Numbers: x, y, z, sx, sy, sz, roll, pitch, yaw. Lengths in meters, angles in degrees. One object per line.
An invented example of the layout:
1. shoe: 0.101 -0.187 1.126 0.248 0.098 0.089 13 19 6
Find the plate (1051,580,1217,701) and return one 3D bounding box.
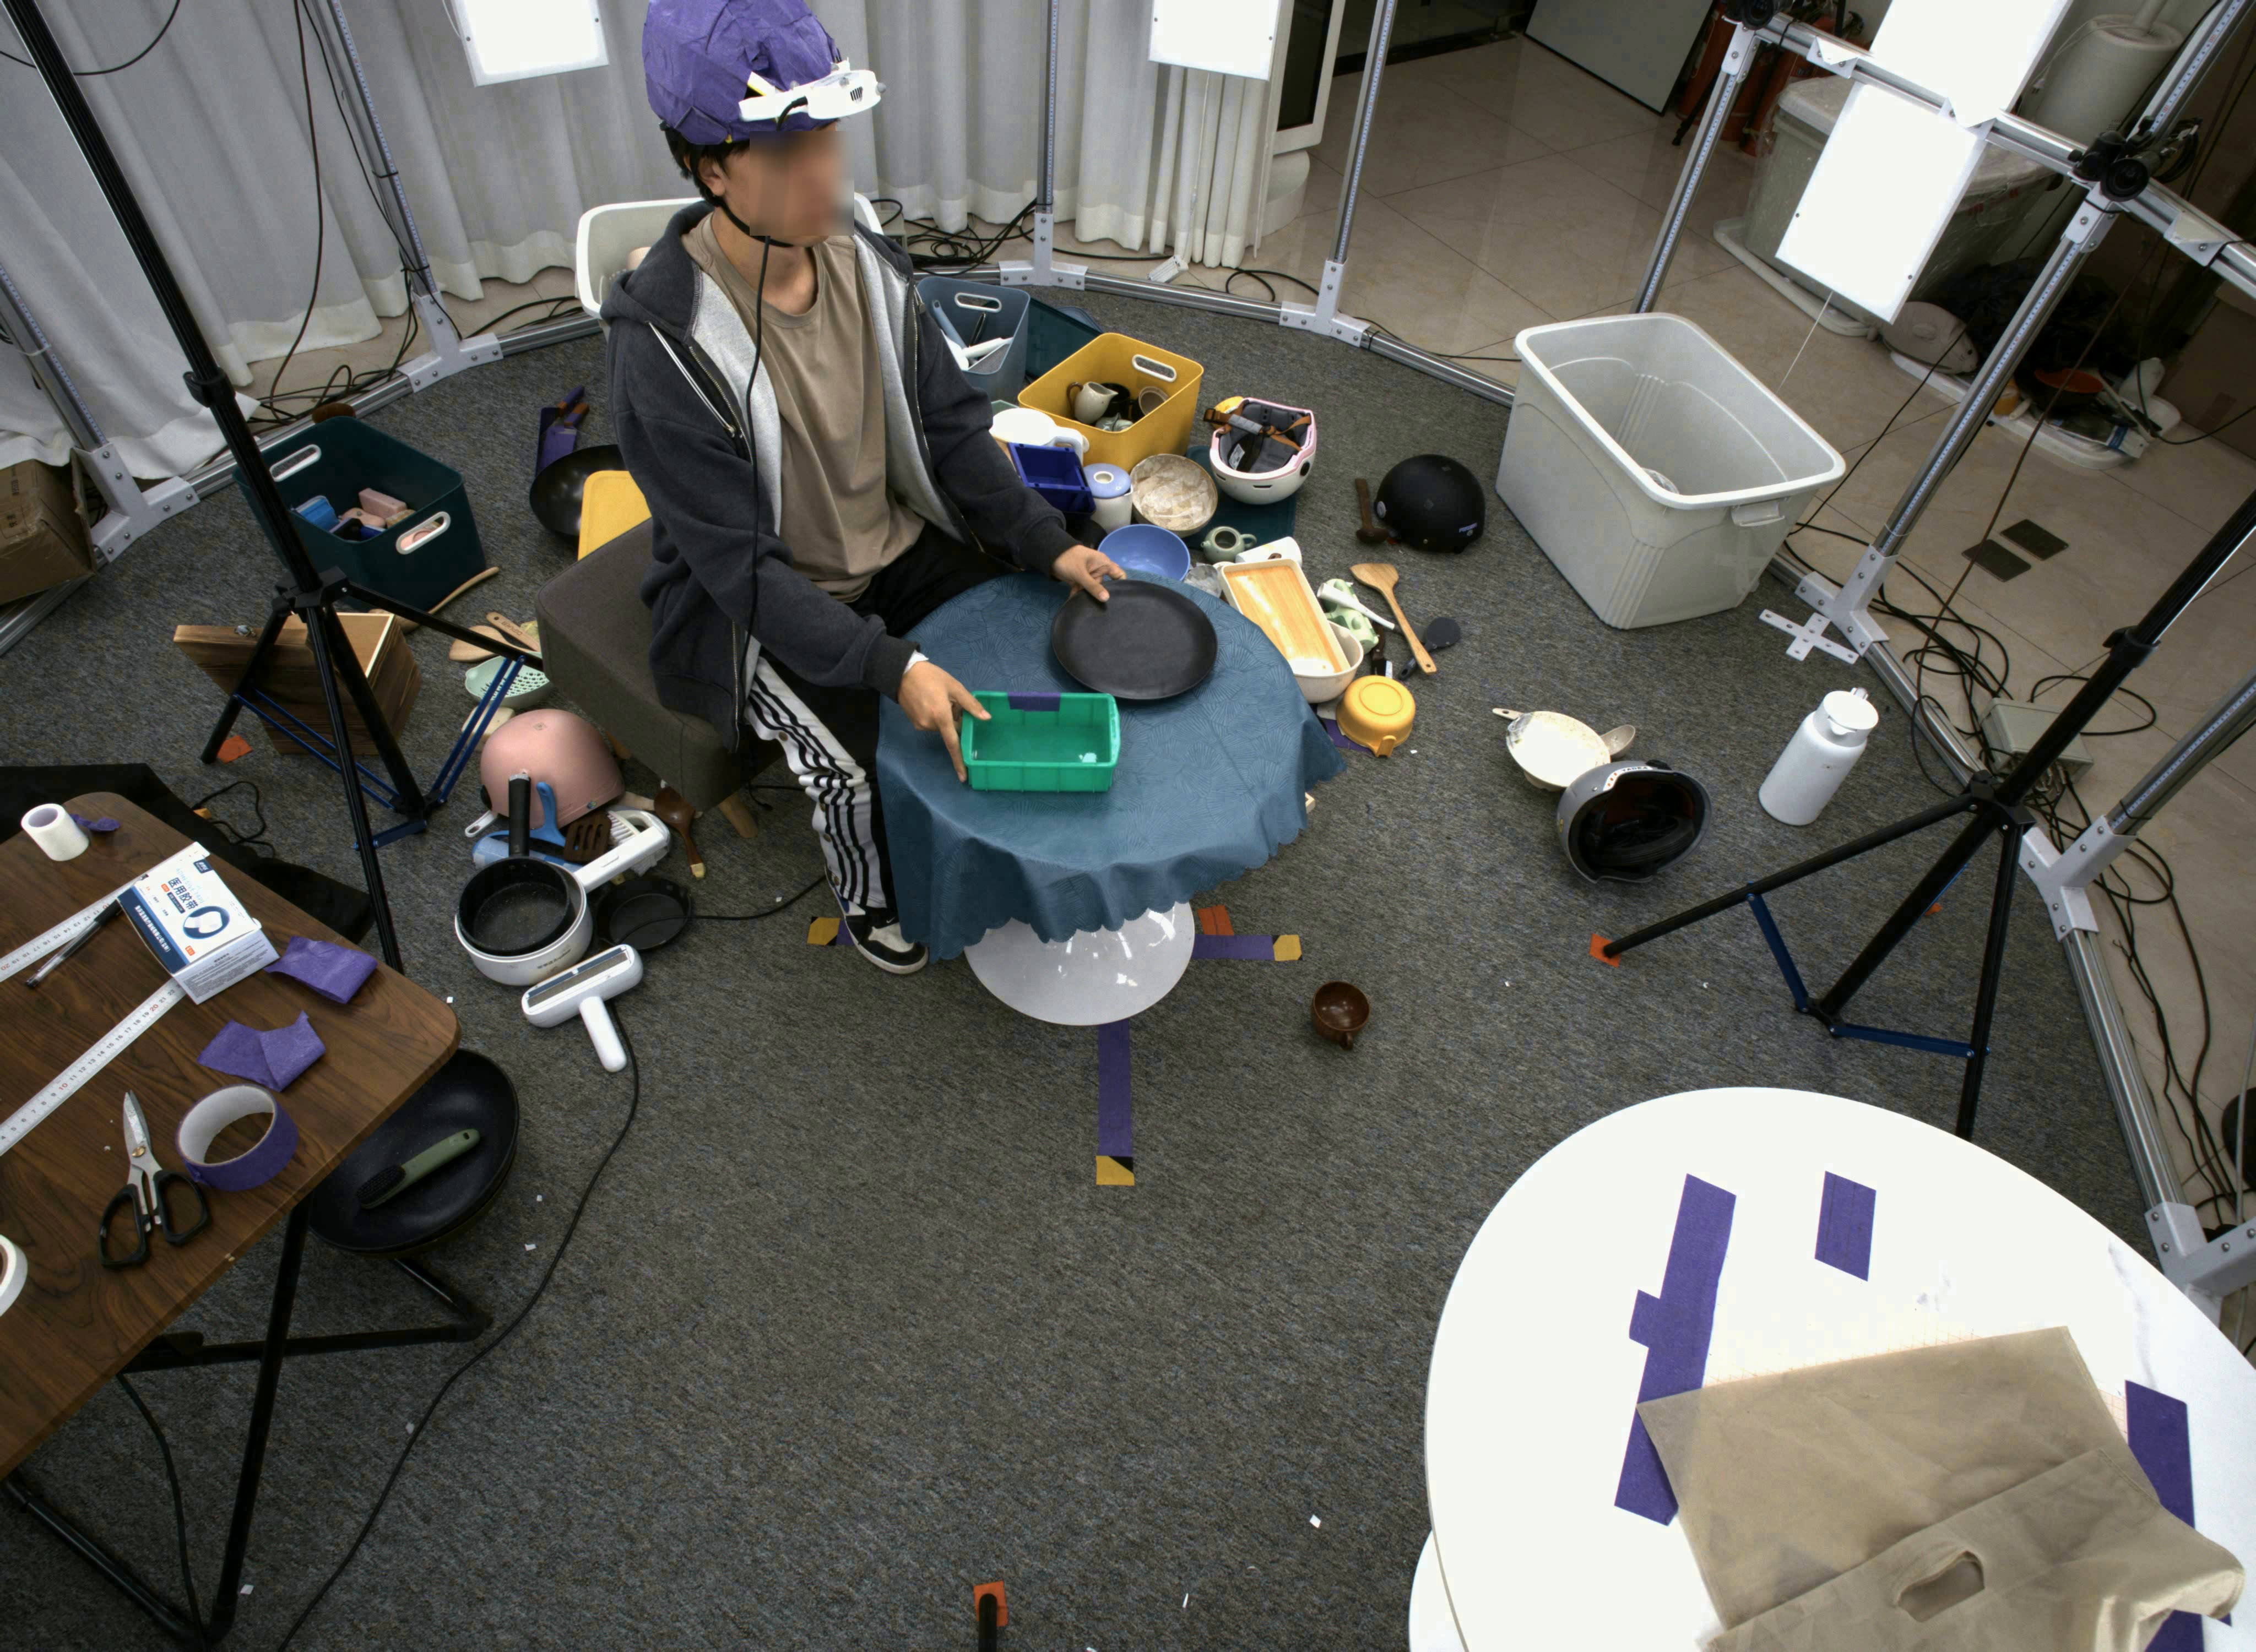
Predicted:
1. plate: 0.009 -0.269 1.878 0.244 0.023 0.250 3 52 -4

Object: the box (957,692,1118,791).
1. box: -0.120 -0.111 1.713 0.210 0.064 0.142 -1 47 -3
